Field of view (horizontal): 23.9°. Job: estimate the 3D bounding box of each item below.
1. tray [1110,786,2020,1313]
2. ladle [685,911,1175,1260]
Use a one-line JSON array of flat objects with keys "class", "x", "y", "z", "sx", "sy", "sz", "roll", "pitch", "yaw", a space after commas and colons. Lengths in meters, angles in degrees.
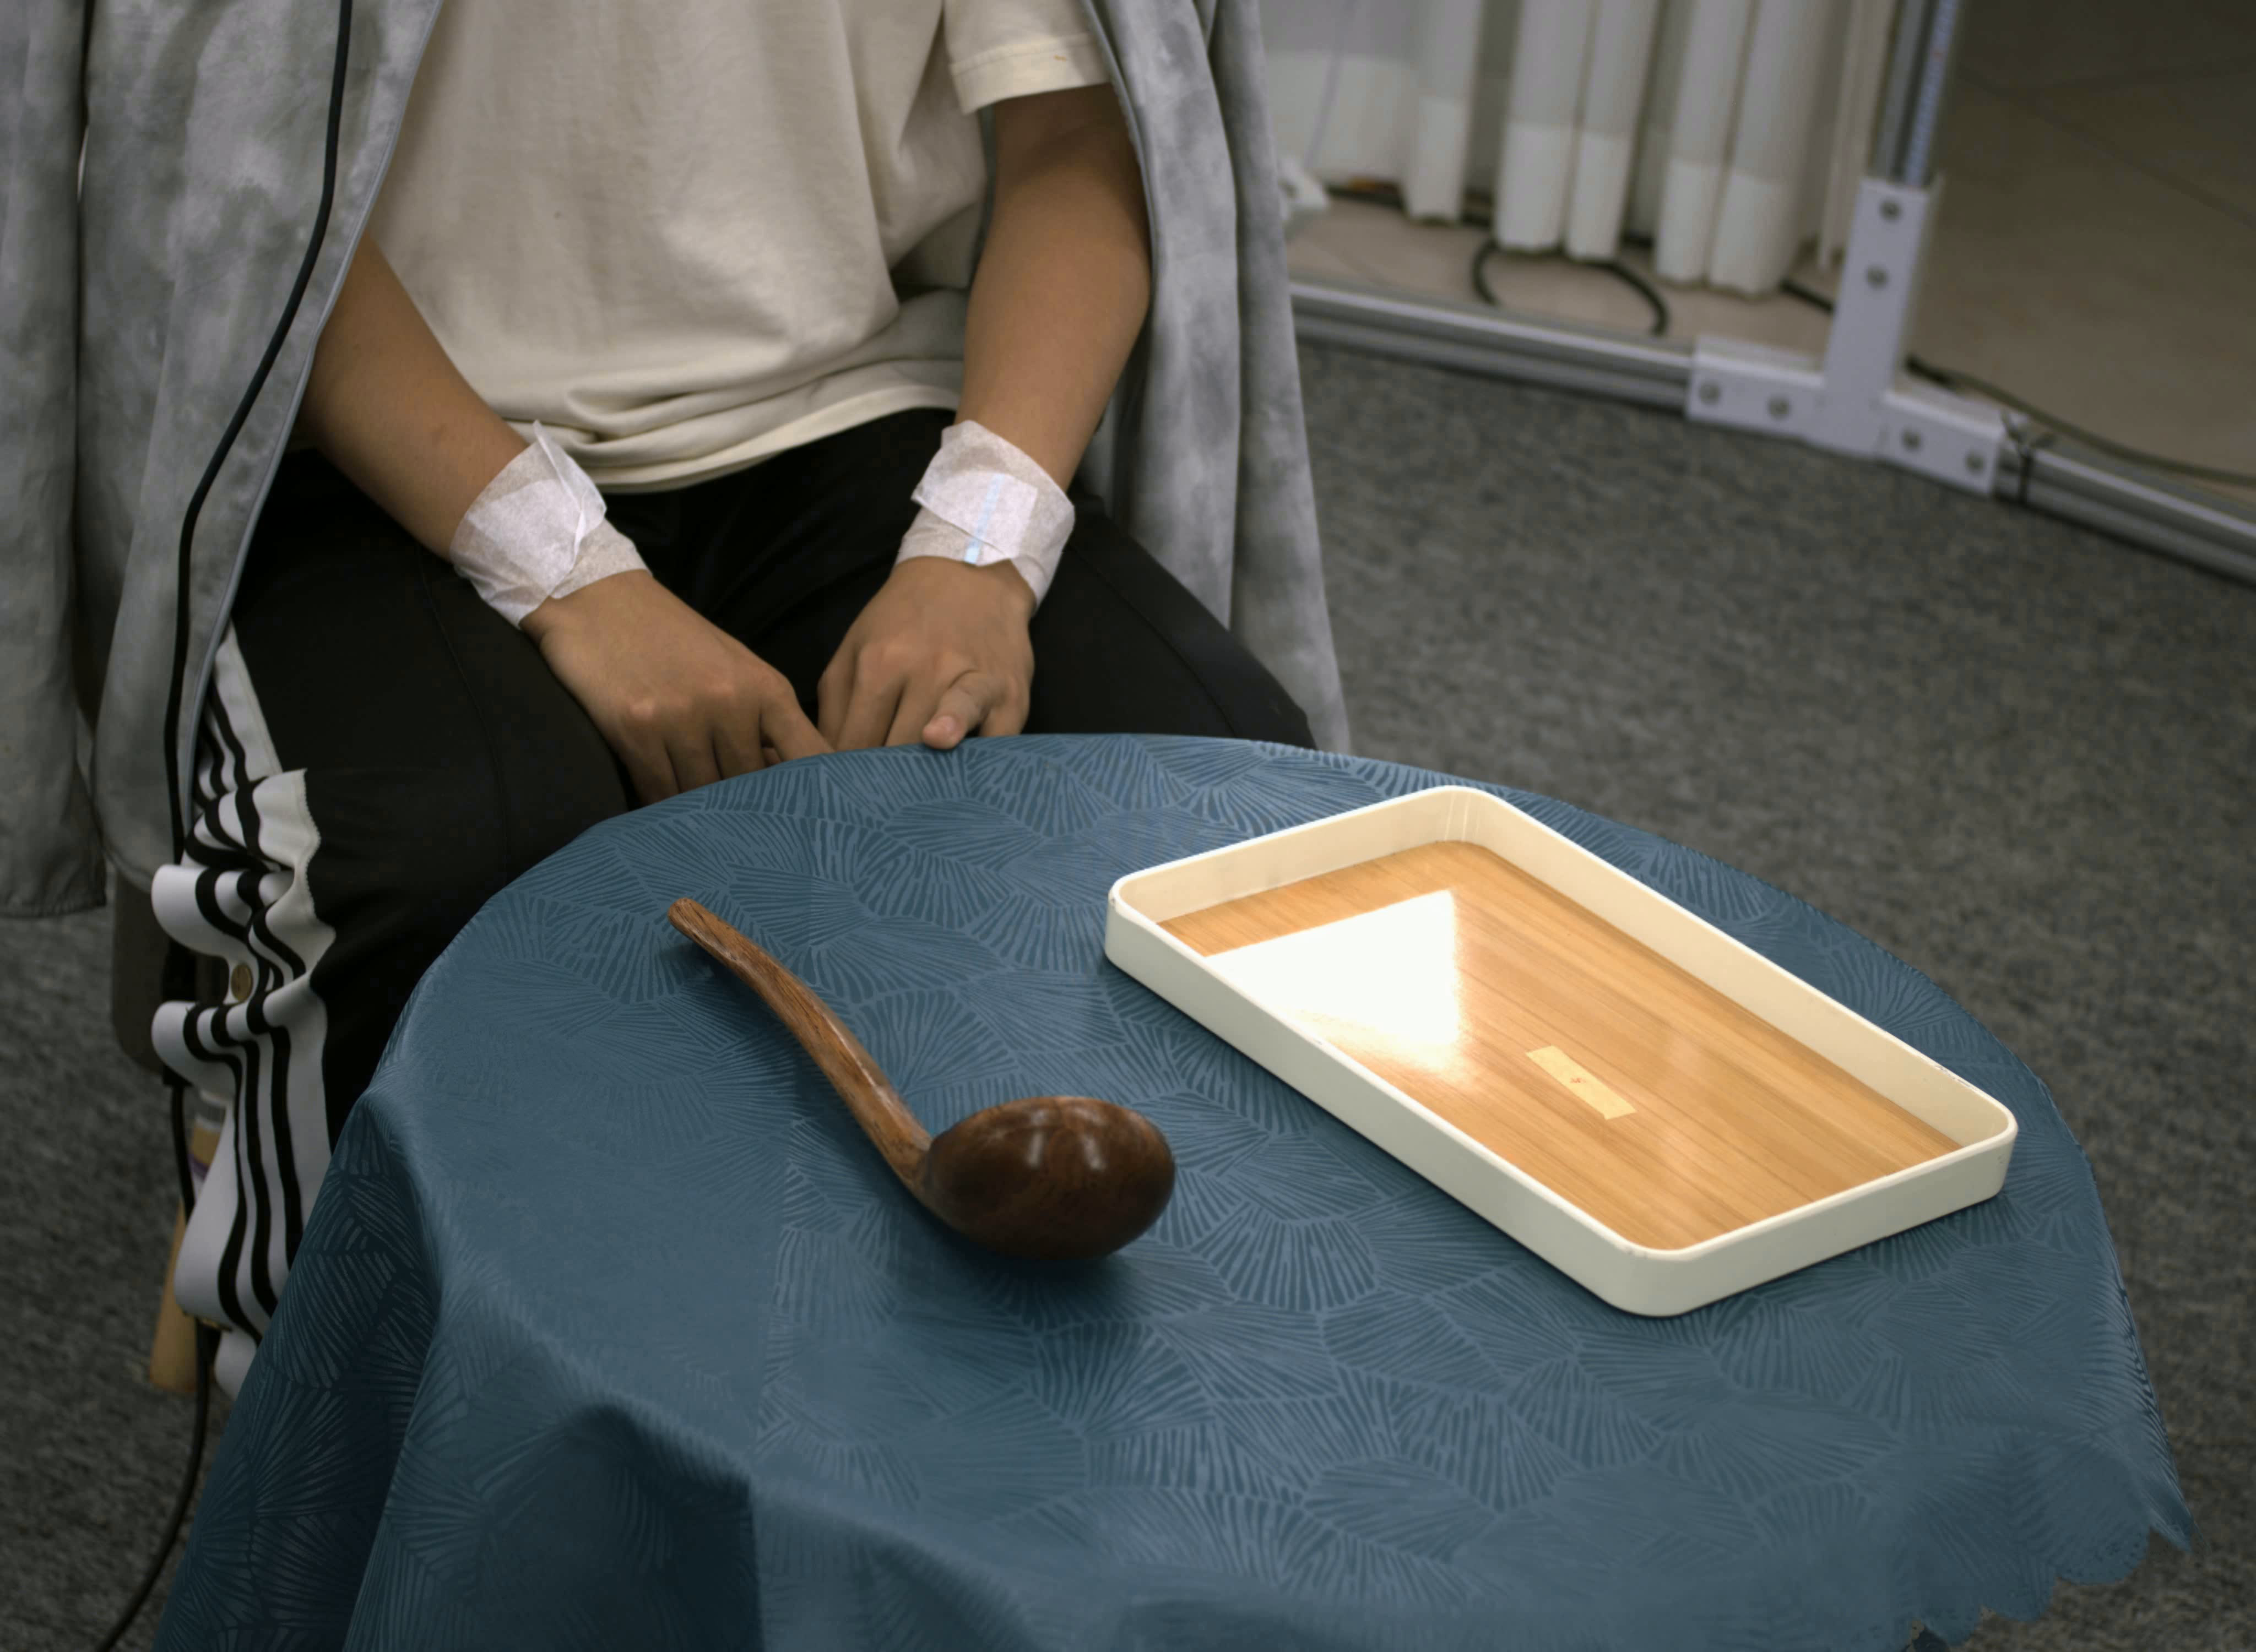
[{"class": "tray", "x": 0.152, "y": 0.074, "z": 1.906, "sx": 0.190, "sy": 0.027, "sz": 0.303, "roll": -15, "pitch": 34, "yaw": -36}, {"class": "ladle", "x": -0.074, "y": 0.069, "z": 1.819, "sx": 0.081, "sy": 0.076, "sz": 0.276, "roll": 40, "pitch": 2, "yaw": -38}]
